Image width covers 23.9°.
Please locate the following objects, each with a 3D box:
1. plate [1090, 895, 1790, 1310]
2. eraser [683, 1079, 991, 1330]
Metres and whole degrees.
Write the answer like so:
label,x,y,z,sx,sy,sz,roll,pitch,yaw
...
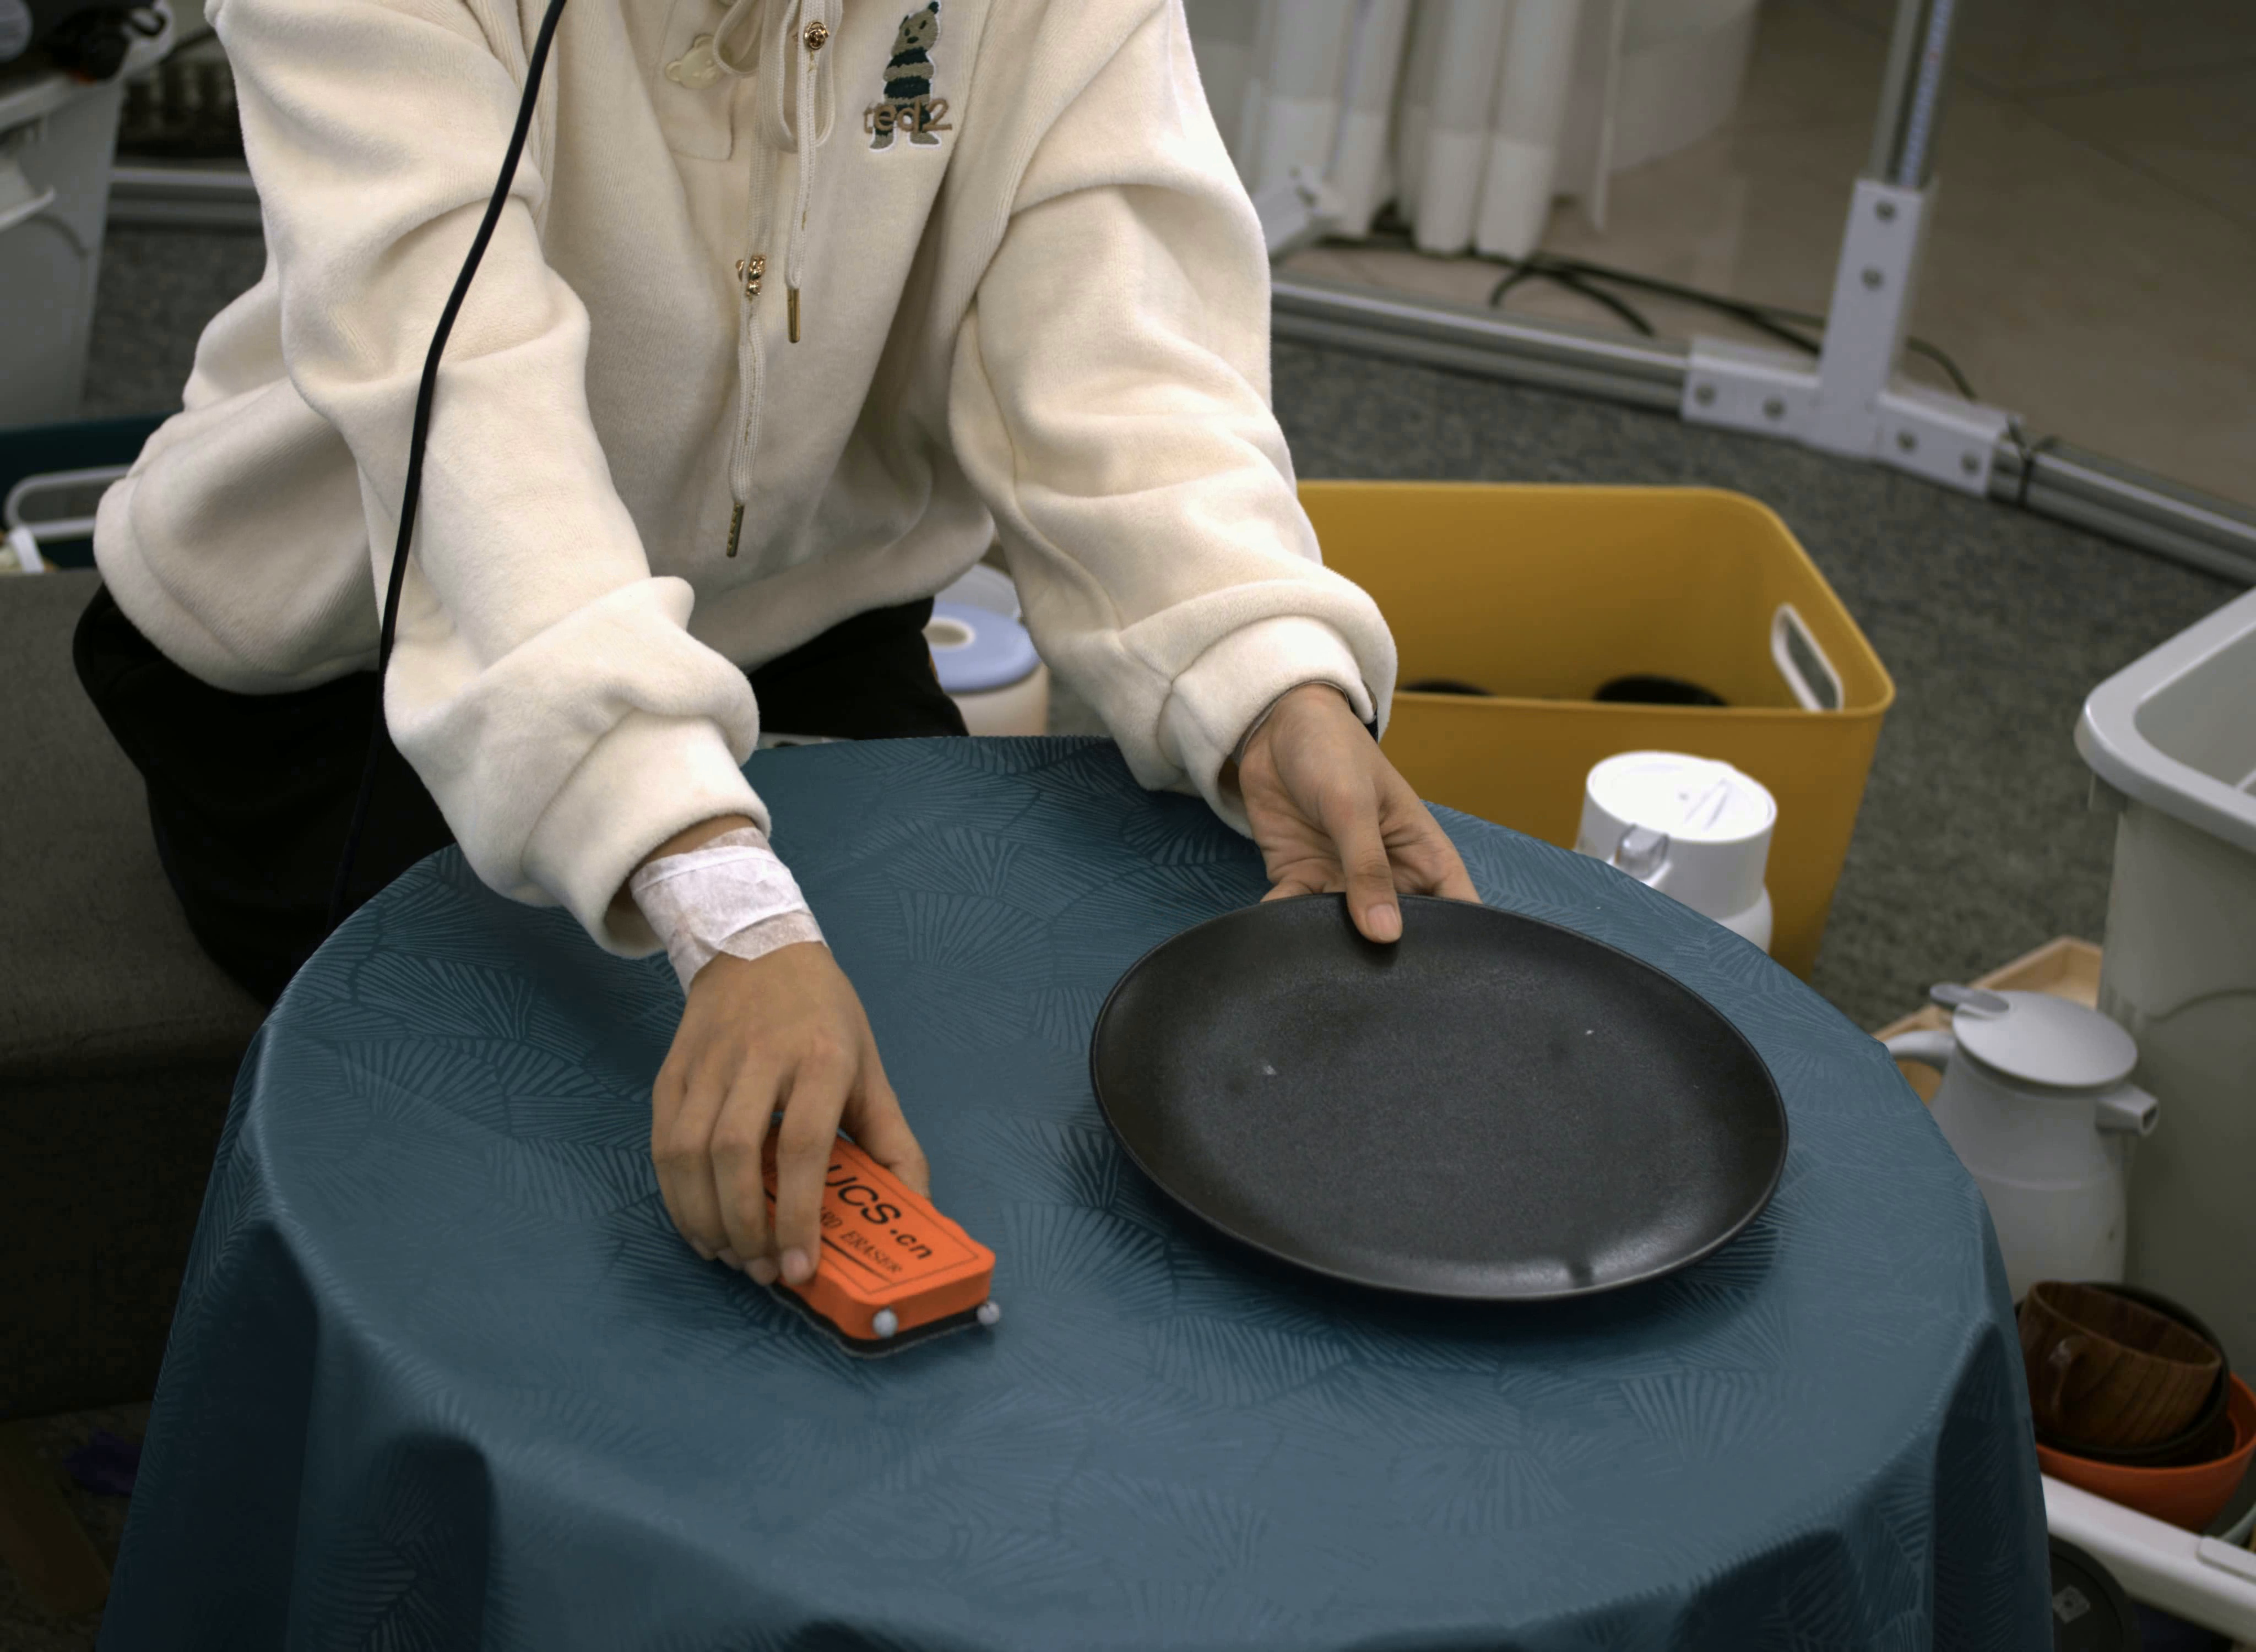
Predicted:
label,x,y,z,sx,sy,sz,roll,pitch,yaw
plate,0.106,0.098,1.835,0.243,0.023,0.246,5,32,-3
eraser,-0.095,0.122,1.731,0.058,0.023,0.109,-19,38,-32
